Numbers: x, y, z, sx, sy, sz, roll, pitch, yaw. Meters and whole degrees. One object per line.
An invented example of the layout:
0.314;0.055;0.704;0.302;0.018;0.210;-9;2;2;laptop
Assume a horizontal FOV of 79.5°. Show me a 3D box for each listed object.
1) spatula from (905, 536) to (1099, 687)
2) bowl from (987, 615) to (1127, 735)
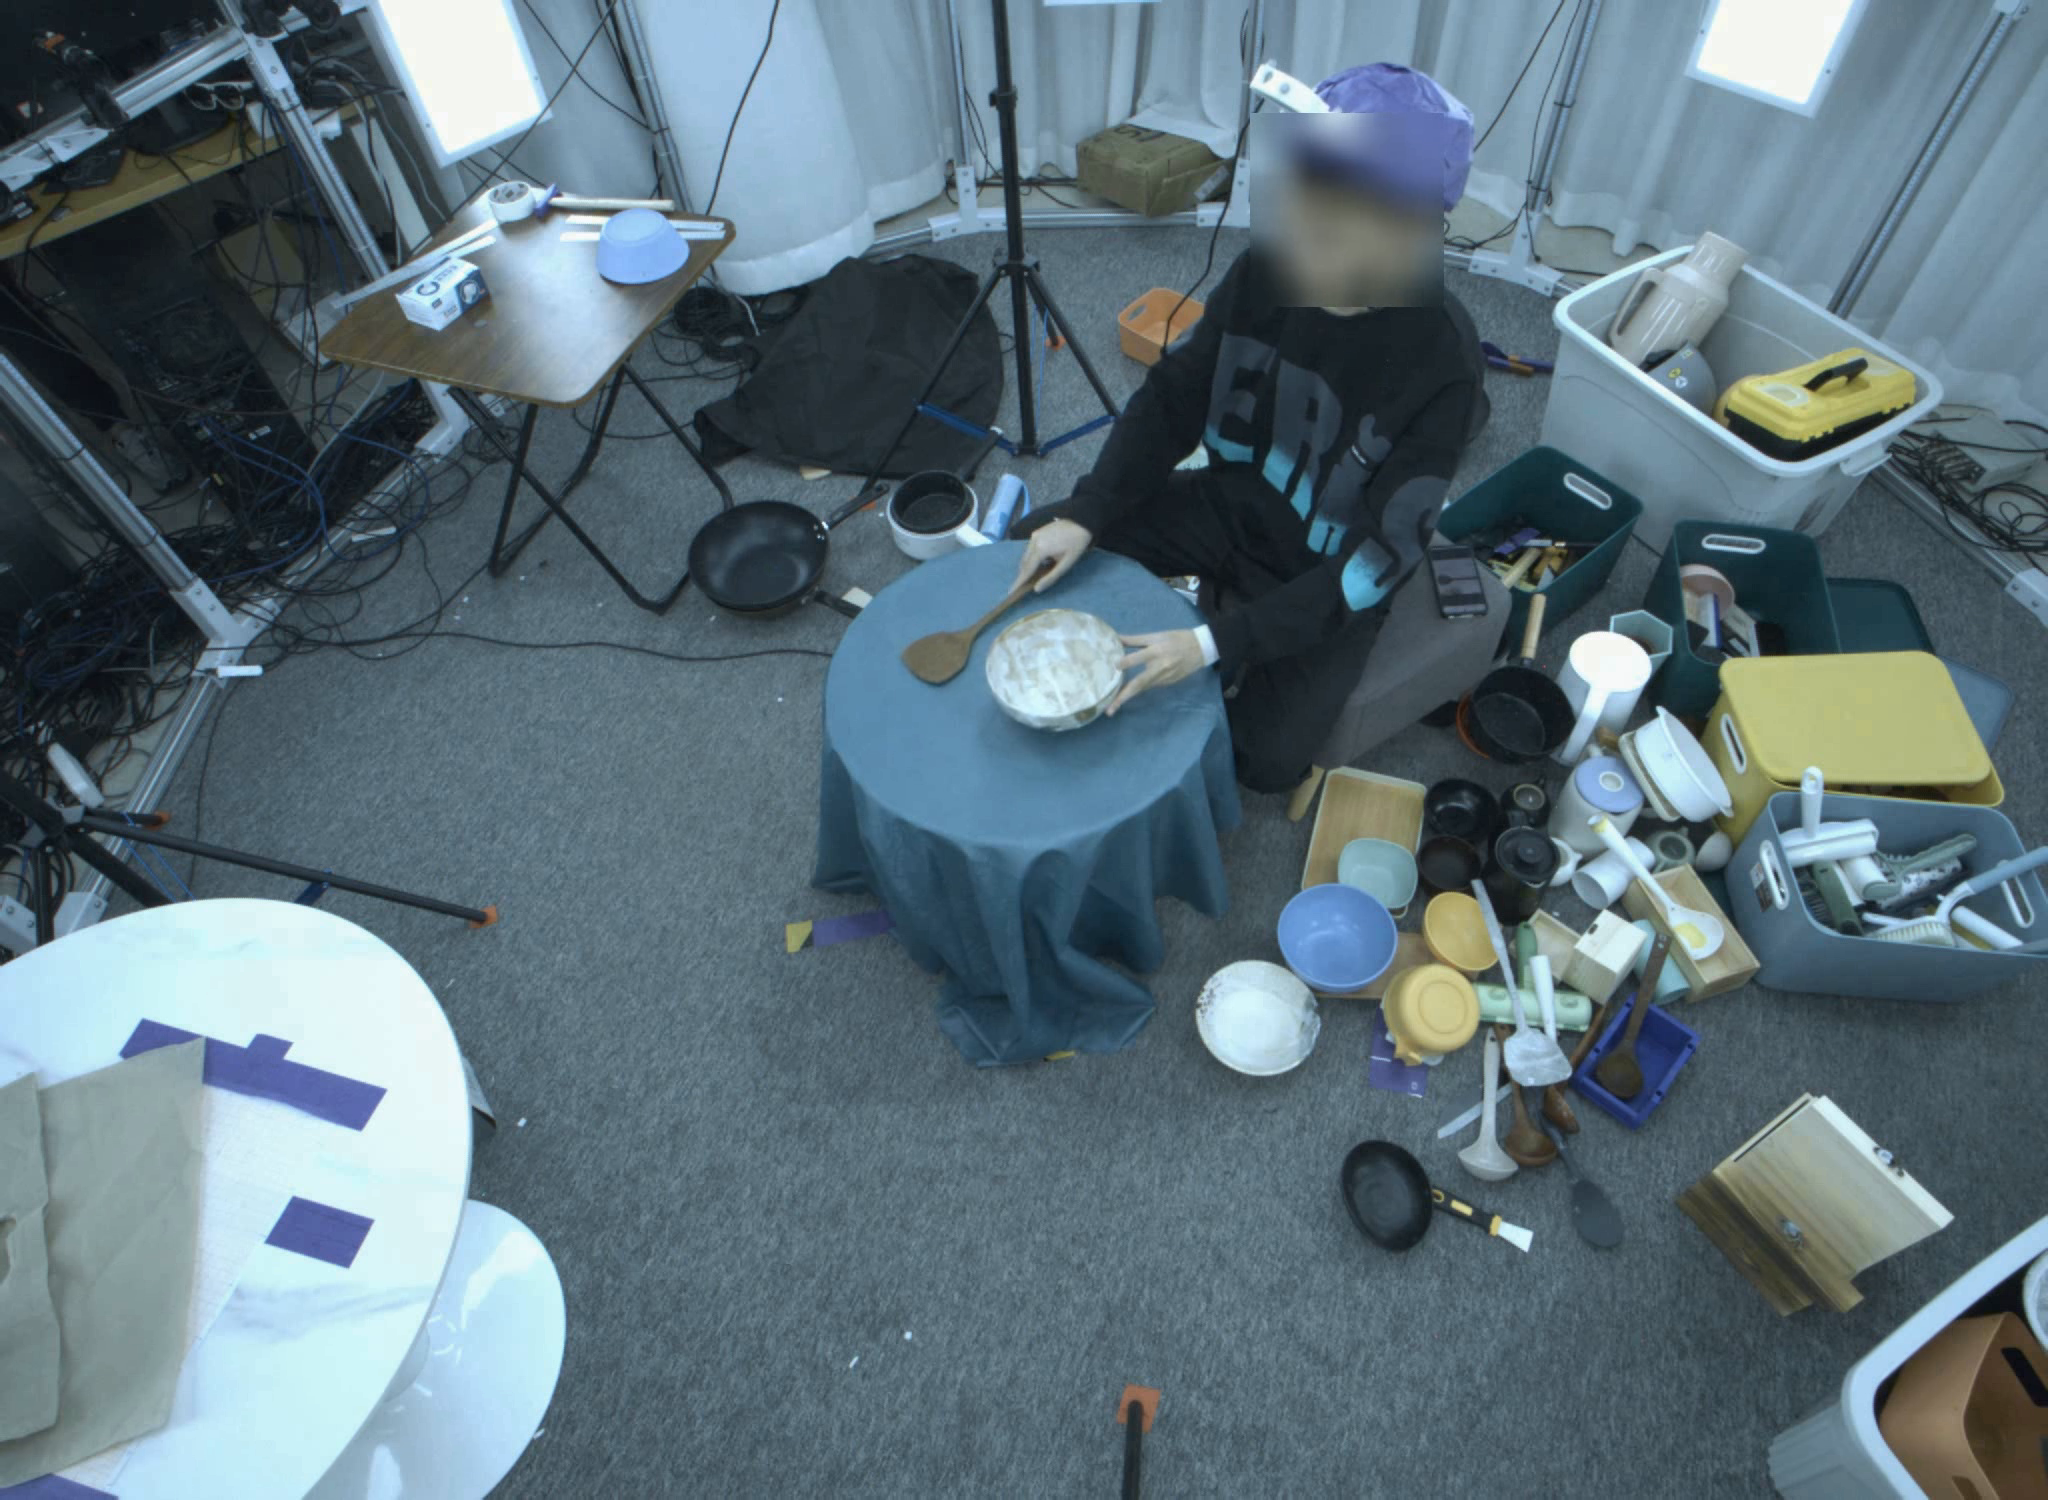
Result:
-0.023;-0.230;1.941;0.388;0.016;0.094;-40;63;-19;spatula
0.054;-0.097;1.807;0.214;0.096;0.212;-1;54;3;bowl
